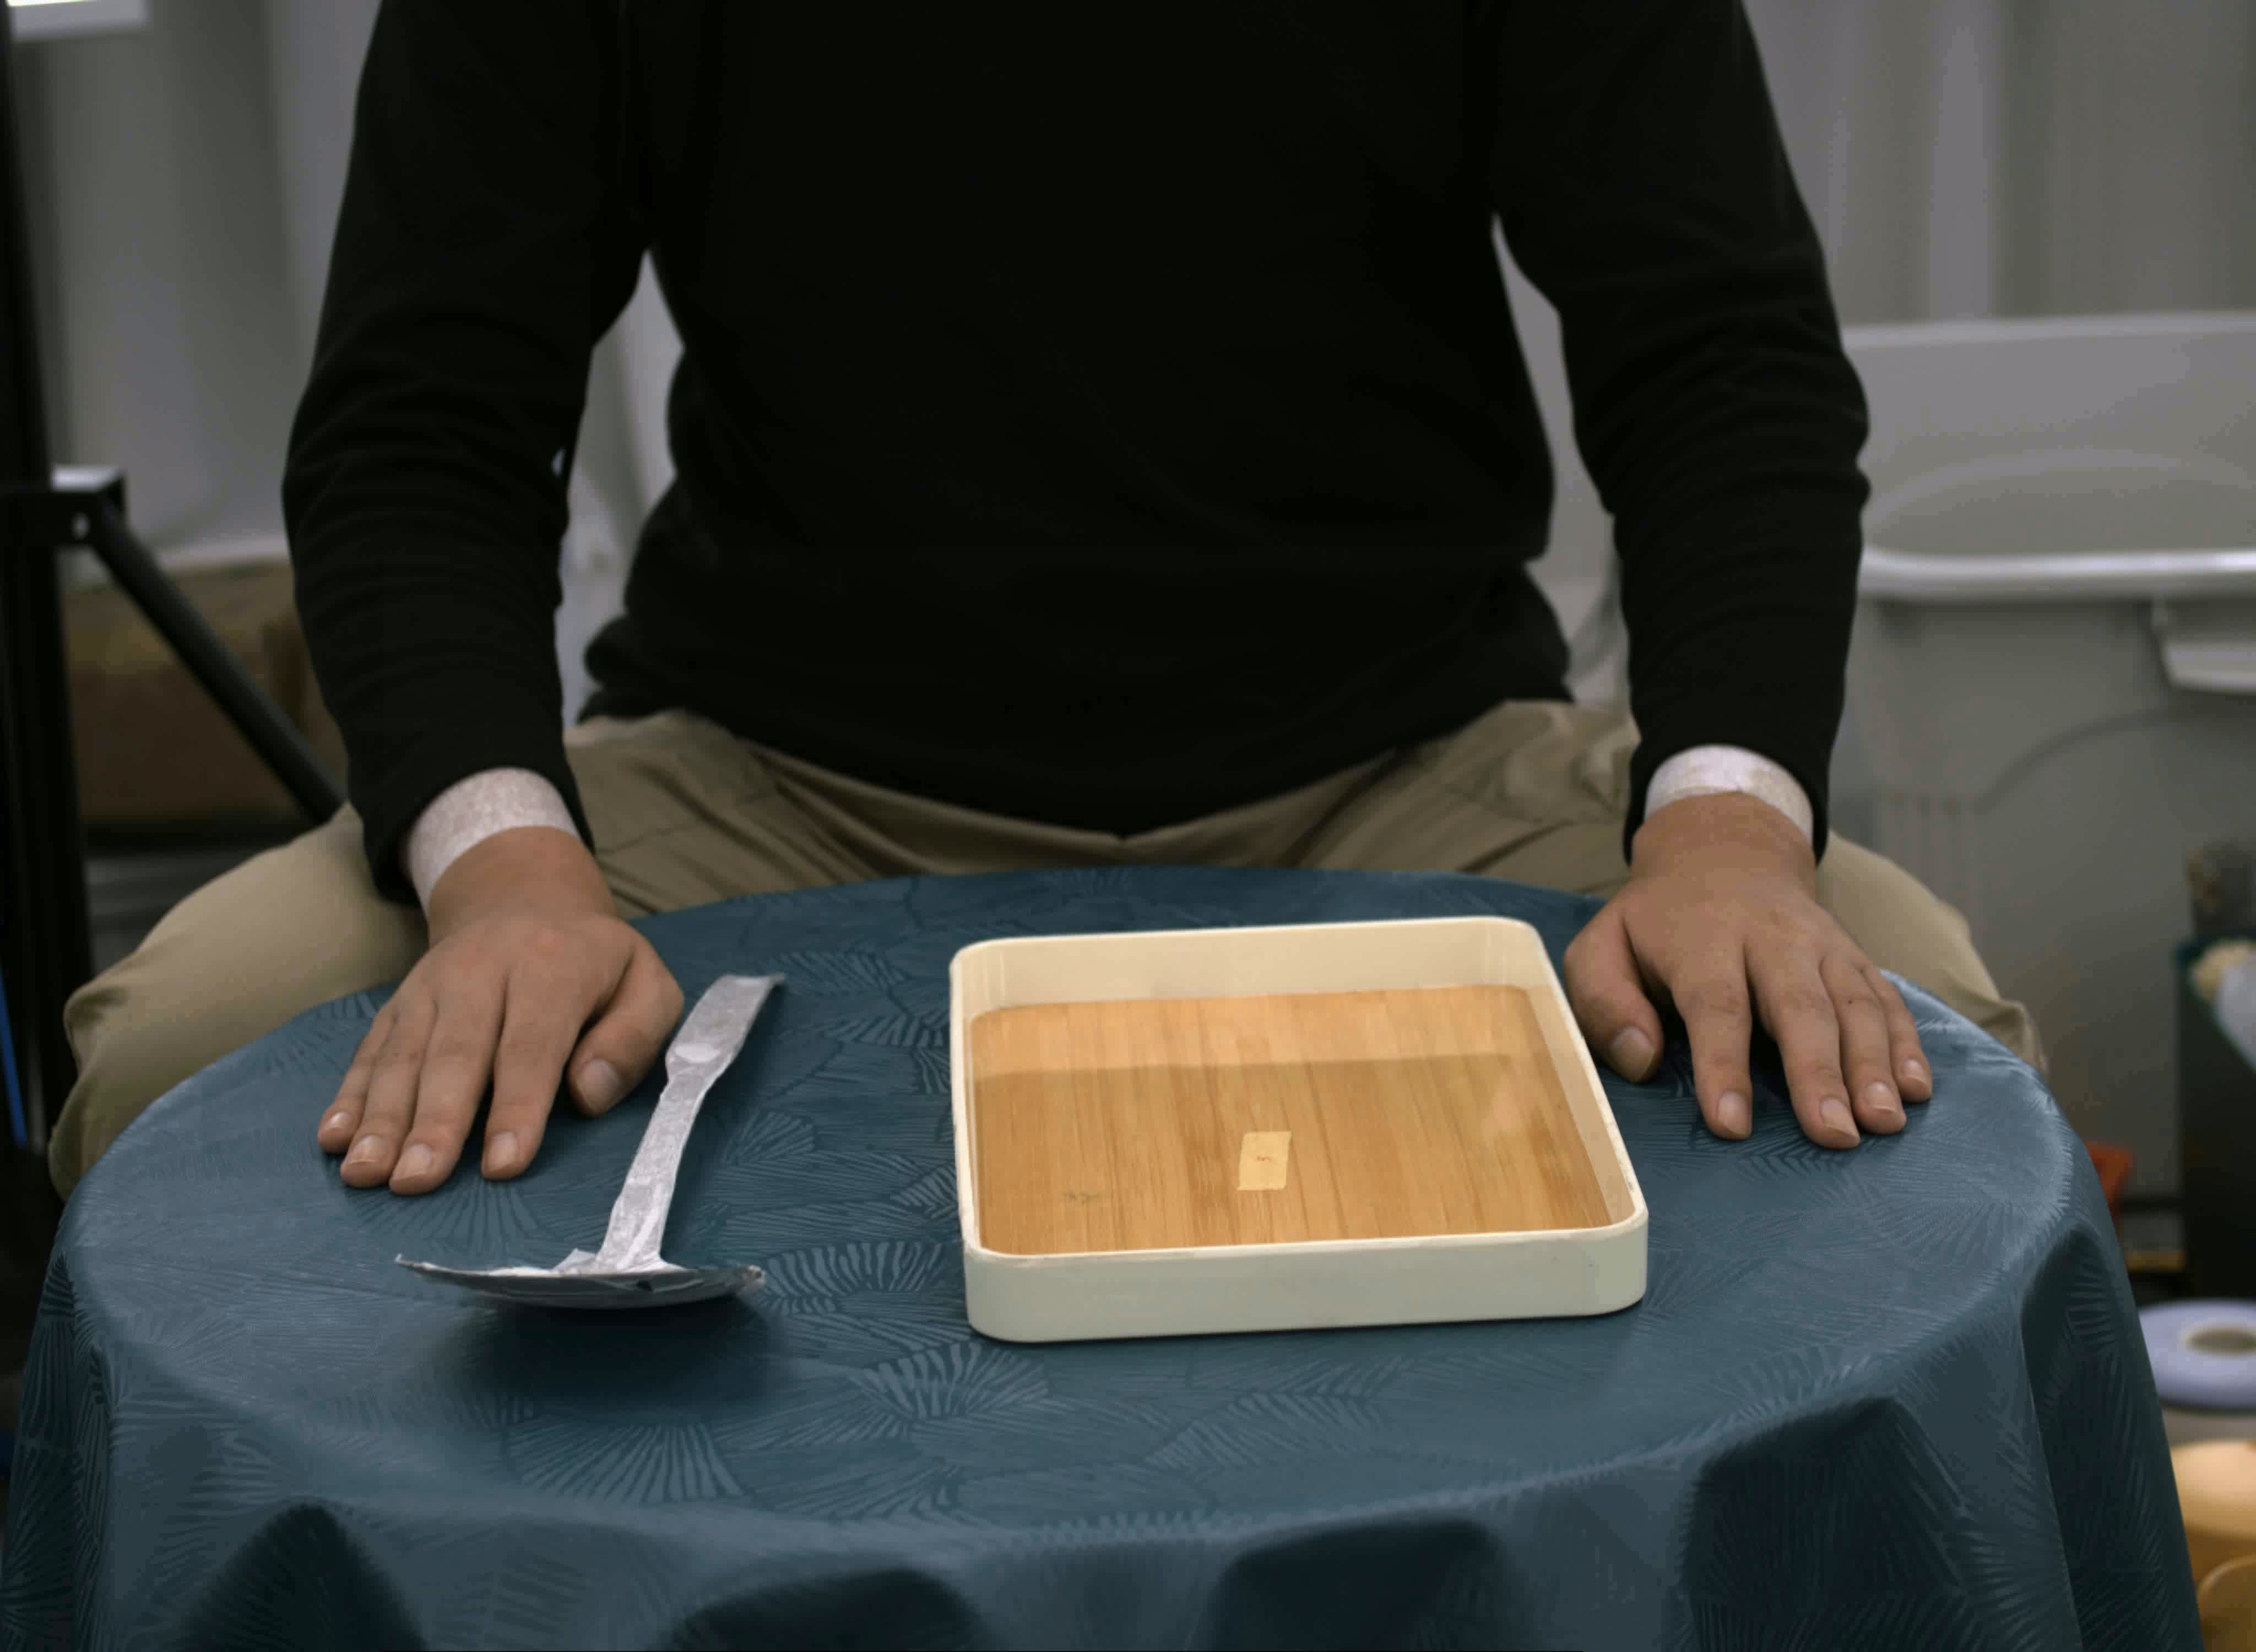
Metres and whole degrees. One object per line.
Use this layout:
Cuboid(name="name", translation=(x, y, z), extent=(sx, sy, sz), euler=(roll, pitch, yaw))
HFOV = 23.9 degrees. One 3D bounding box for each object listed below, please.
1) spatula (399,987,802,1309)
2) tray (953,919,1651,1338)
Cuboid(name="spatula", translation=(-0.134, 0.087, 1.585), extent=(0.099, 0.045, 0.365), euler=(-2, 16, 5))
Cuboid(name="tray", translation=(0.044, 0.086, 1.579), extent=(0.190, 0.027, 0.302), euler=(-3, 16, -1))
